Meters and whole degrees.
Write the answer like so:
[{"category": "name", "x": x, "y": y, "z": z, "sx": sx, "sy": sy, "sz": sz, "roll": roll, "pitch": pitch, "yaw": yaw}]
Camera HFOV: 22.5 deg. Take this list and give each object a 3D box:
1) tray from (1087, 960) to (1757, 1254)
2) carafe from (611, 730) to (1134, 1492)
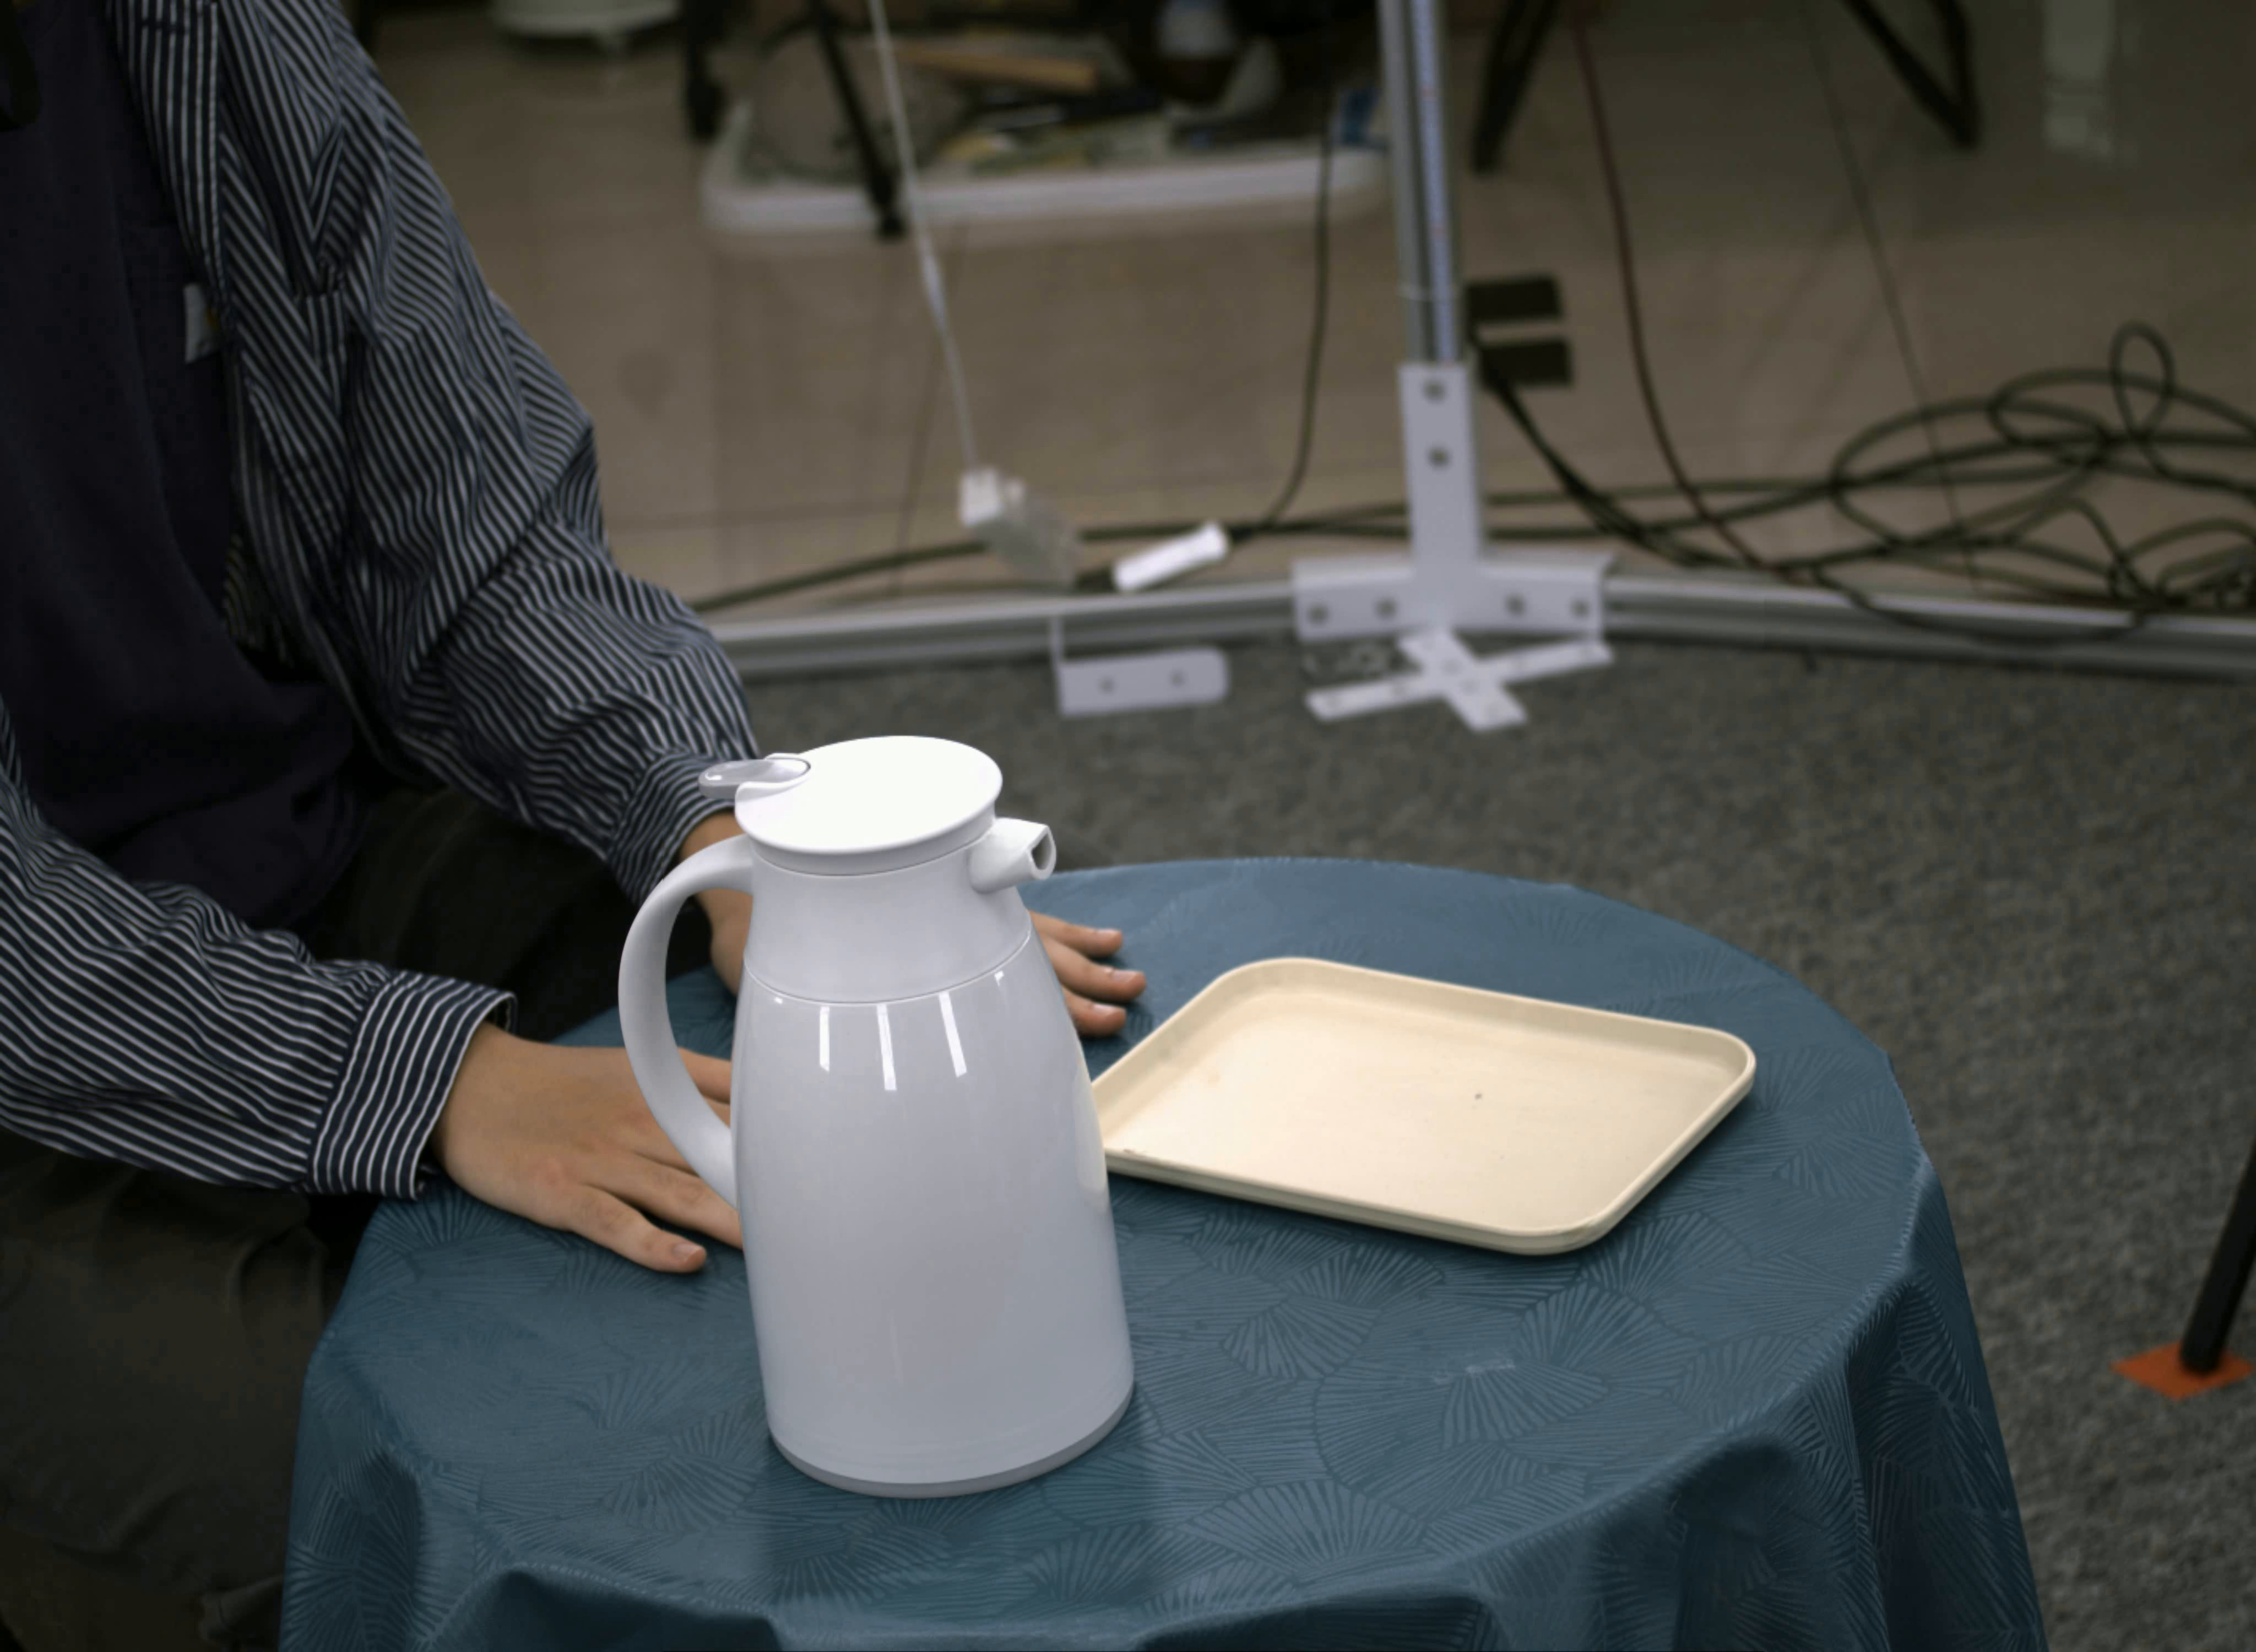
[{"category": "tray", "x": 0.107, "y": 0.107, "z": 2.172, "sx": 0.238, "sy": 0.018, "sz": 0.169, "roll": 9, "pitch": 29, "yaw": 31}, {"category": "carafe", "x": -0.095, "y": 0.092, "z": 1.974, "sx": 0.167, "sy": 0.253, "sz": 0.130, "roll": 1, "pitch": 28, "yaw": 17}]
